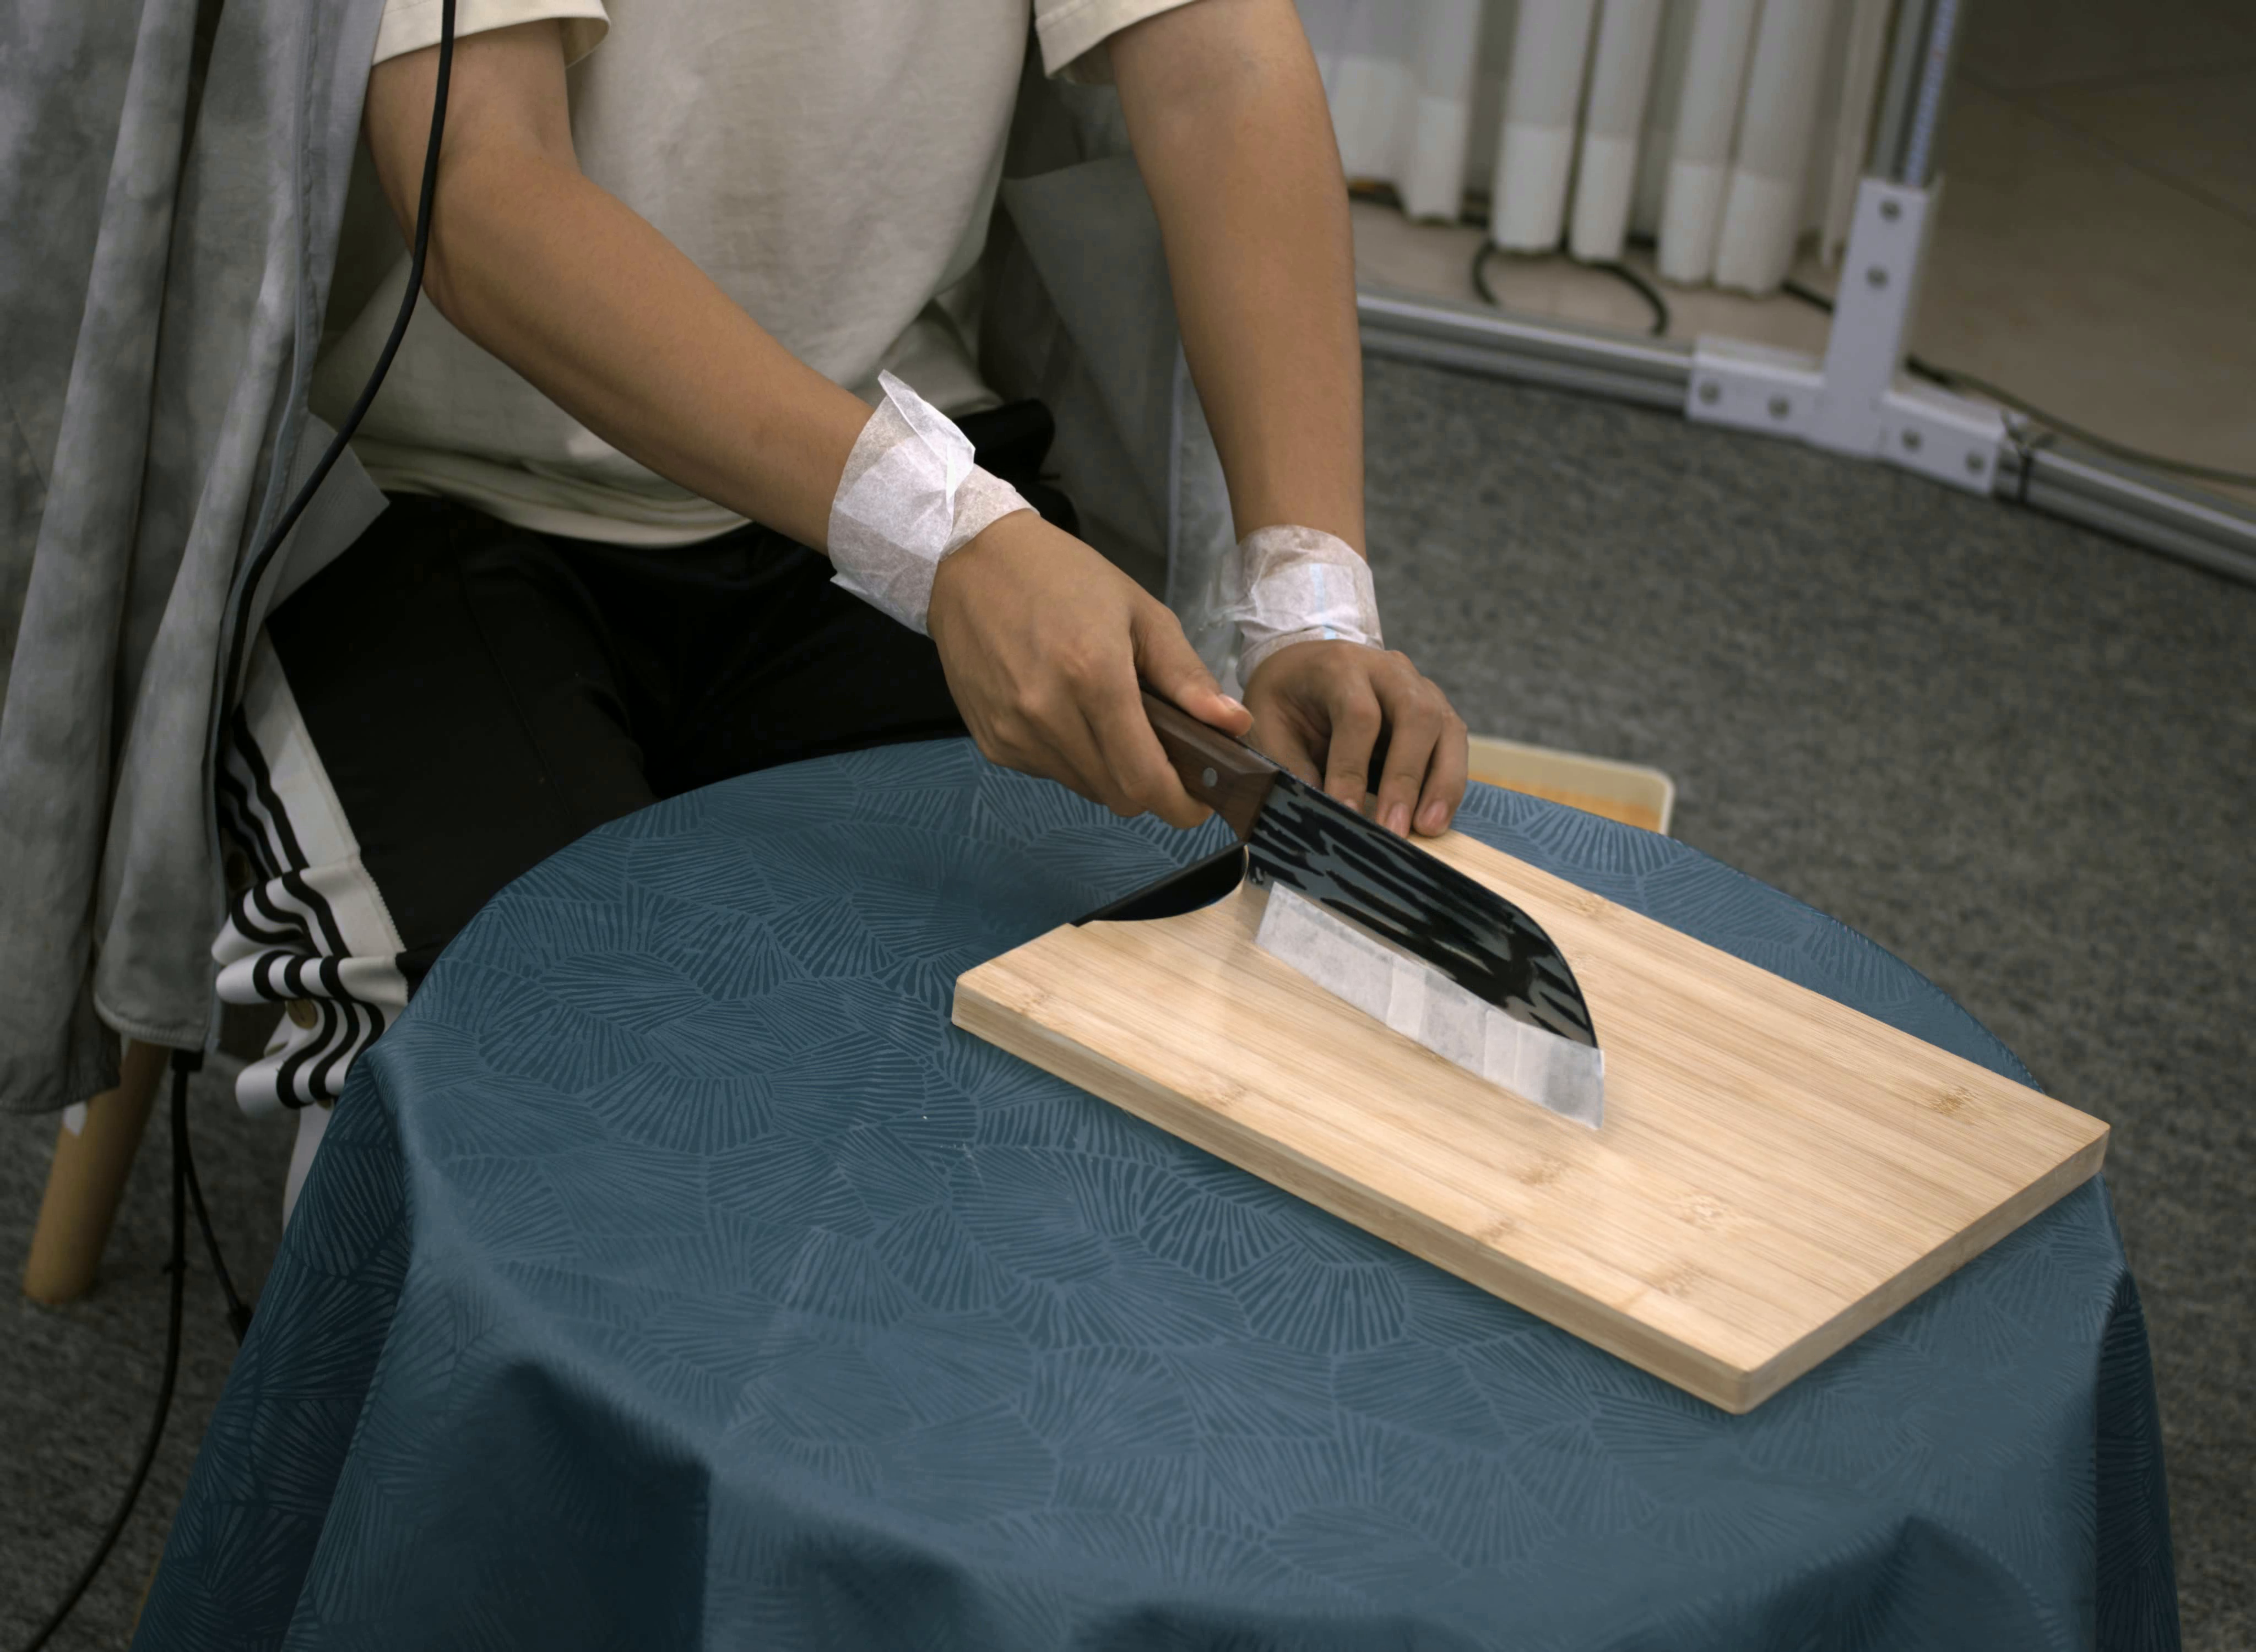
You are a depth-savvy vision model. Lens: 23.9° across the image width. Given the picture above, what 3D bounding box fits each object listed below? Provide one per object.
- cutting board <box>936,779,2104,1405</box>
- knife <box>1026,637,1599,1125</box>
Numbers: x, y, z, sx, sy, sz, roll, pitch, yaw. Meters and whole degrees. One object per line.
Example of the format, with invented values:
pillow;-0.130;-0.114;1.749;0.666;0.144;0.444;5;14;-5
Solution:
cutting board;0.138;0.087;1.891;0.351;0.023;0.250;24;31;31
knife;0.064;0.018;1.908;0.024;0.068;0.302;-10;33;-45
